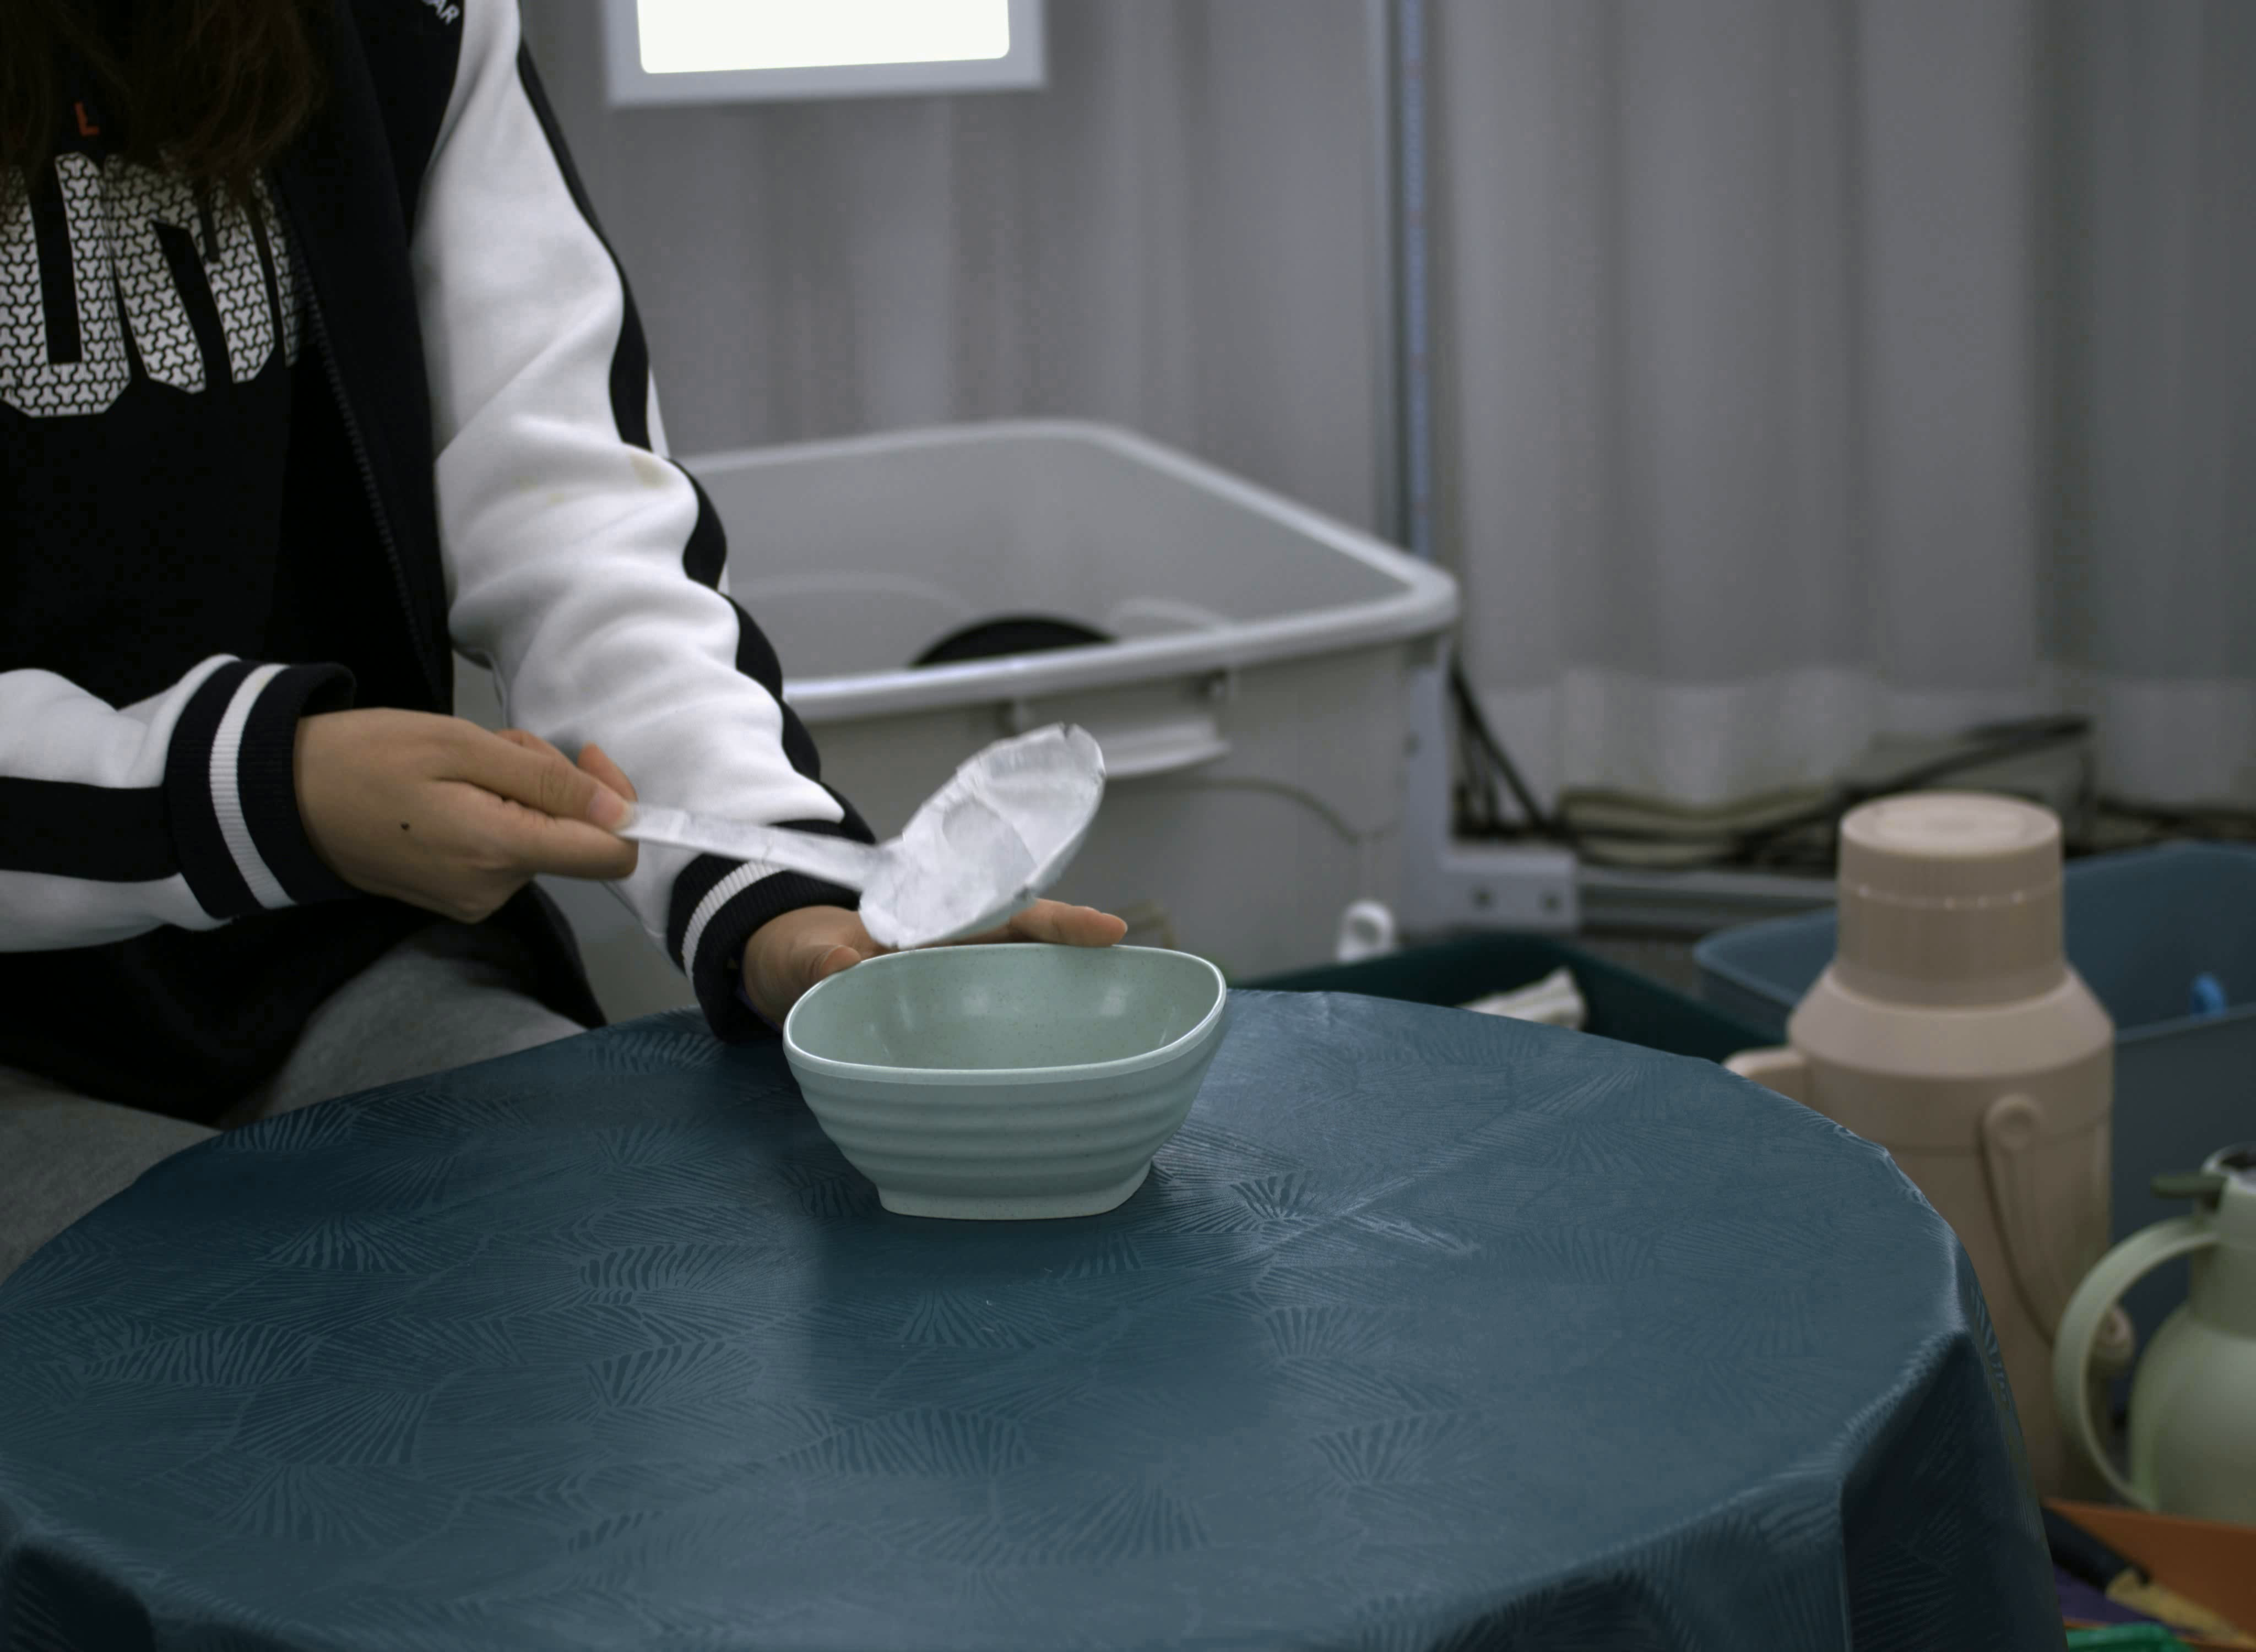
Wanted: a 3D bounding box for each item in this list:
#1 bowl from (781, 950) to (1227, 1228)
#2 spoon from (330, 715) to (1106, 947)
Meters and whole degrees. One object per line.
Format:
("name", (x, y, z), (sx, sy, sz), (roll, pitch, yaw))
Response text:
("bowl", (-0.038, 0.086, 1.727), (0.151, 0.058, 0.152), (-2, 14, 0))
("spoon", (-0.135, -0.020, 1.744), (0.278, 0.058, 0.101), (15, 44, 20))
